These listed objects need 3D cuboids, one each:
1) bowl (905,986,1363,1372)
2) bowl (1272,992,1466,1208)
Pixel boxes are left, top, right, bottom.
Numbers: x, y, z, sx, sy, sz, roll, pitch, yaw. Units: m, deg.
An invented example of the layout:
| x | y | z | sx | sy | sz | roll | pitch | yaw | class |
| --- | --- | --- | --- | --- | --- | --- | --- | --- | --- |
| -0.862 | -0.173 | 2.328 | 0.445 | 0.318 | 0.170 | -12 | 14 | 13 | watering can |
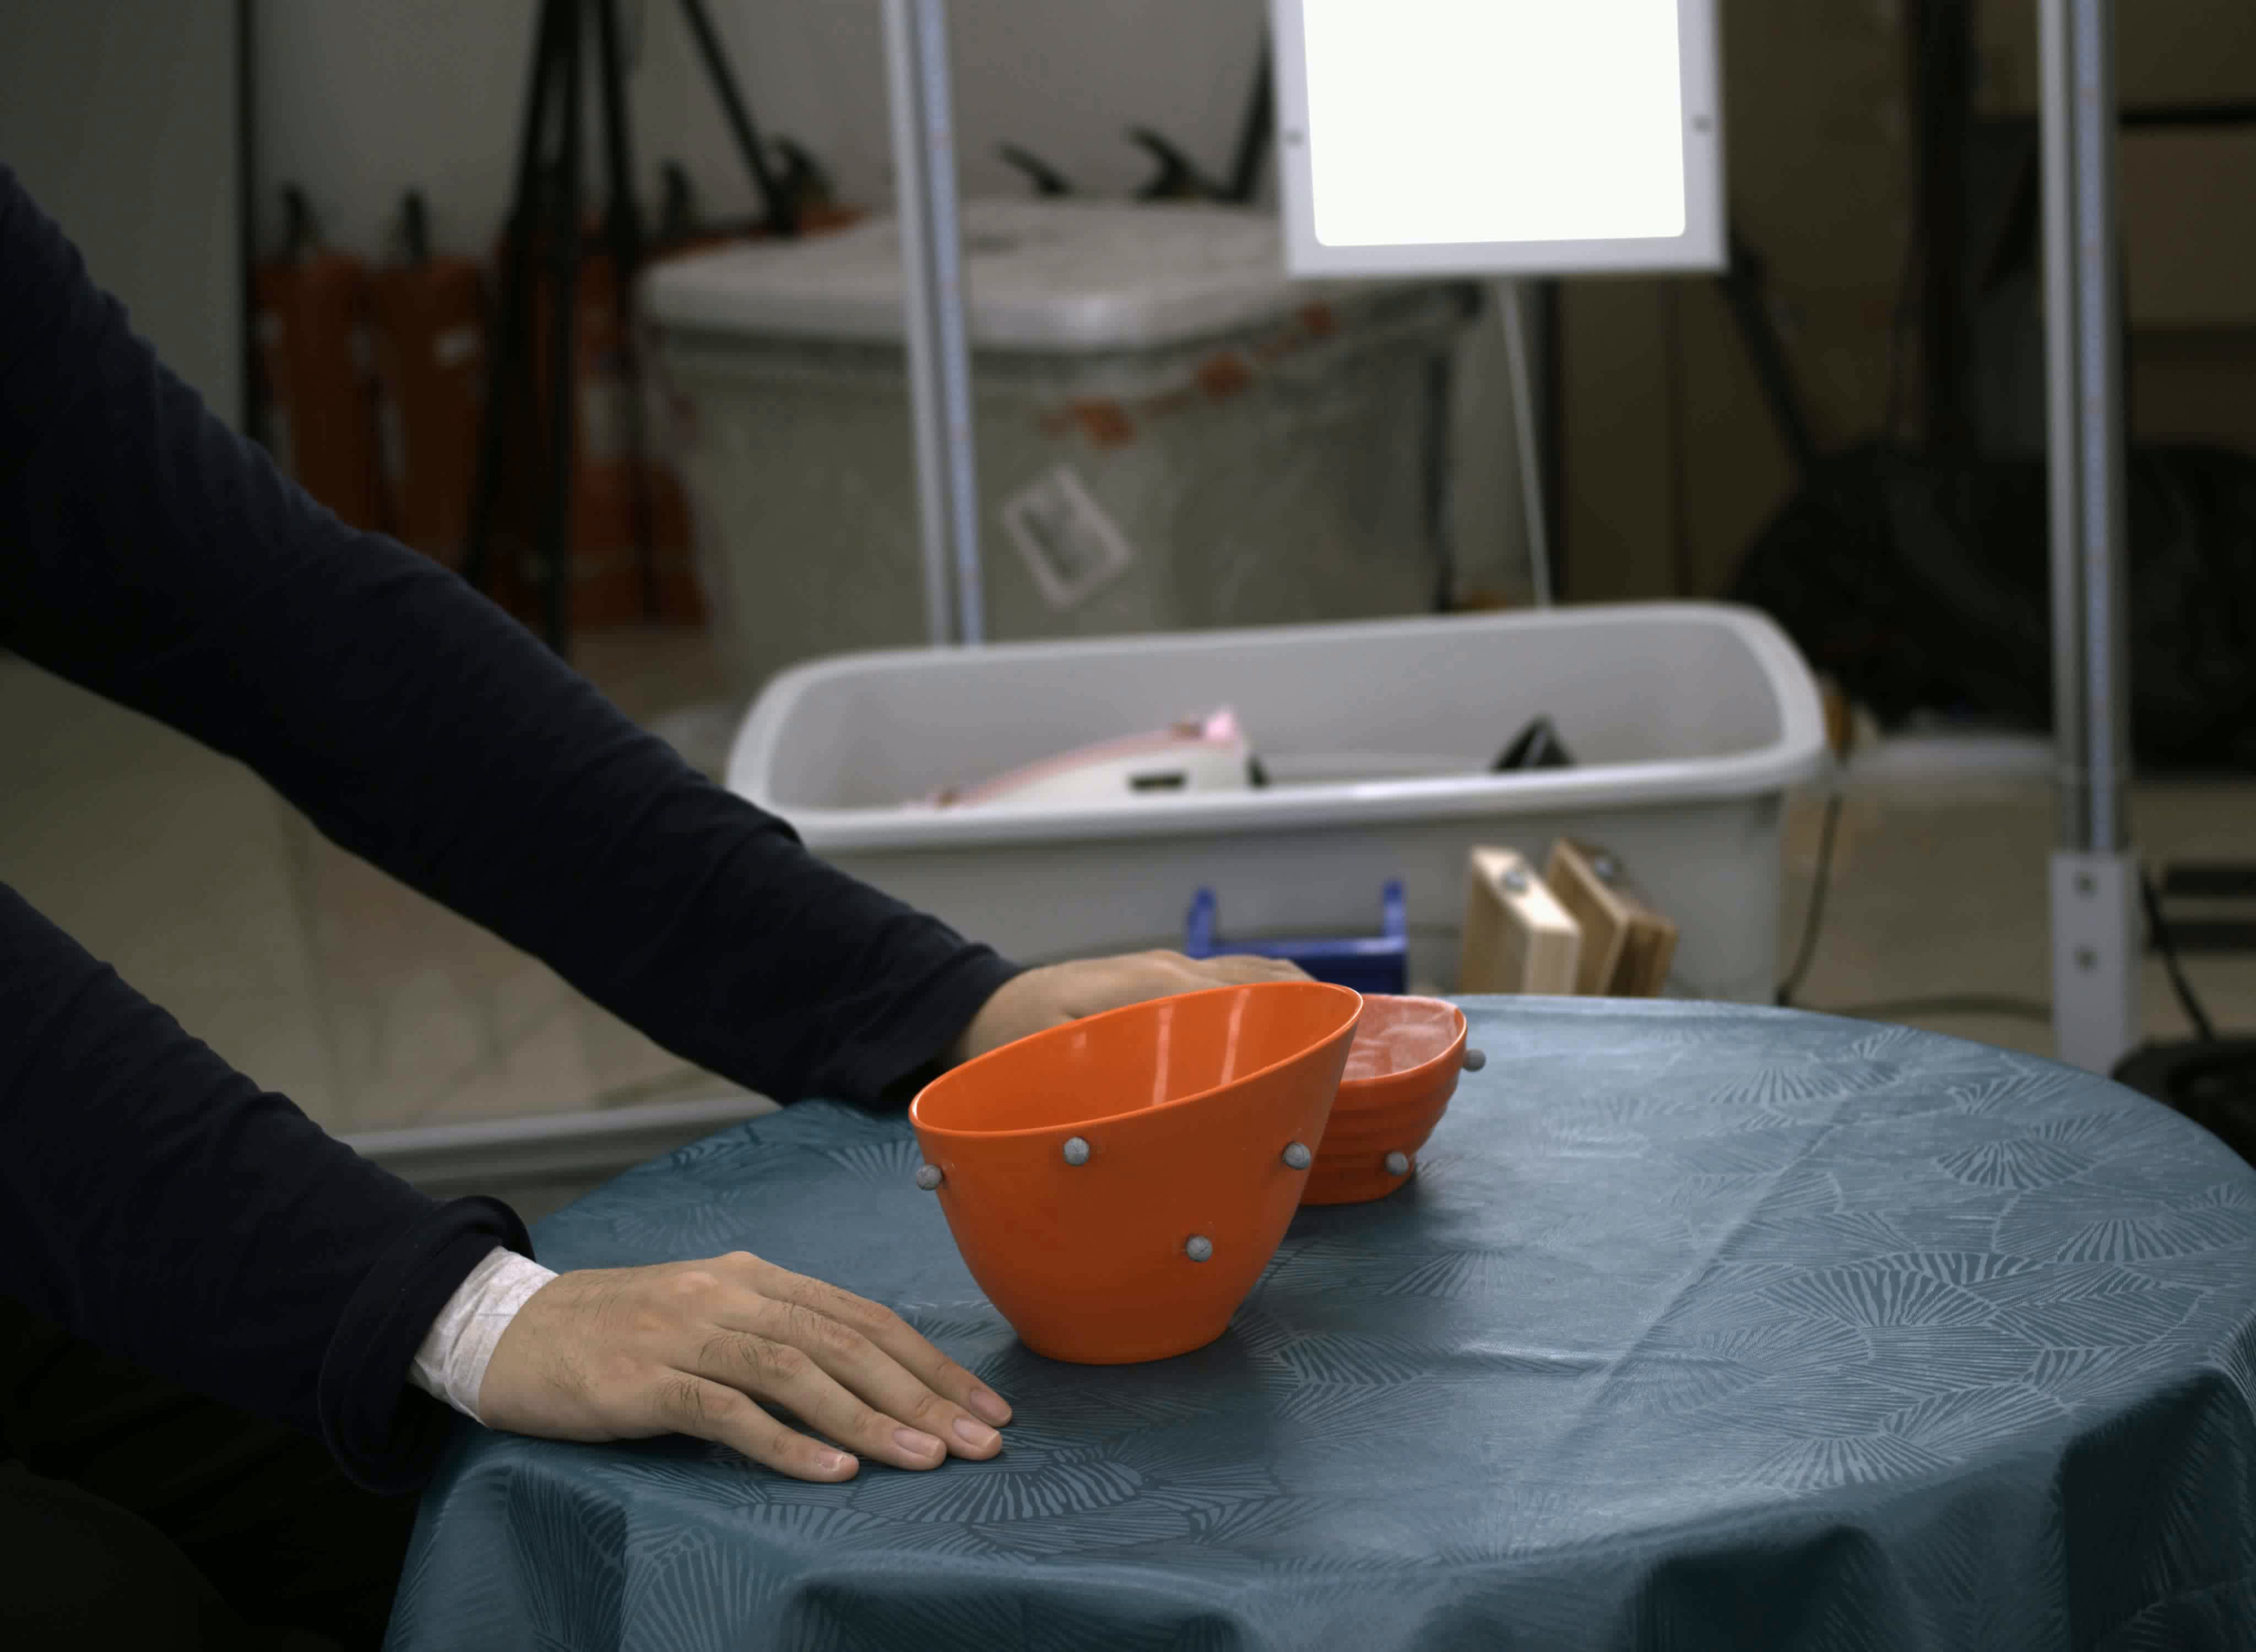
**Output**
| x | y | z | sx | sy | sz | roll | pitch | yaw | class |
| --- | --- | --- | --- | --- | --- | --- | --- | --- | --- |
| 0.004 | 0.113 | 1.744 | 0.147 | 0.105 | 0.148 | -5 | 14 | 0 | bowl |
| 0.063 | 0.097 | 1.897 | 0.118 | 0.051 | 0.119 | -6 | 15 | 0 | bowl |
